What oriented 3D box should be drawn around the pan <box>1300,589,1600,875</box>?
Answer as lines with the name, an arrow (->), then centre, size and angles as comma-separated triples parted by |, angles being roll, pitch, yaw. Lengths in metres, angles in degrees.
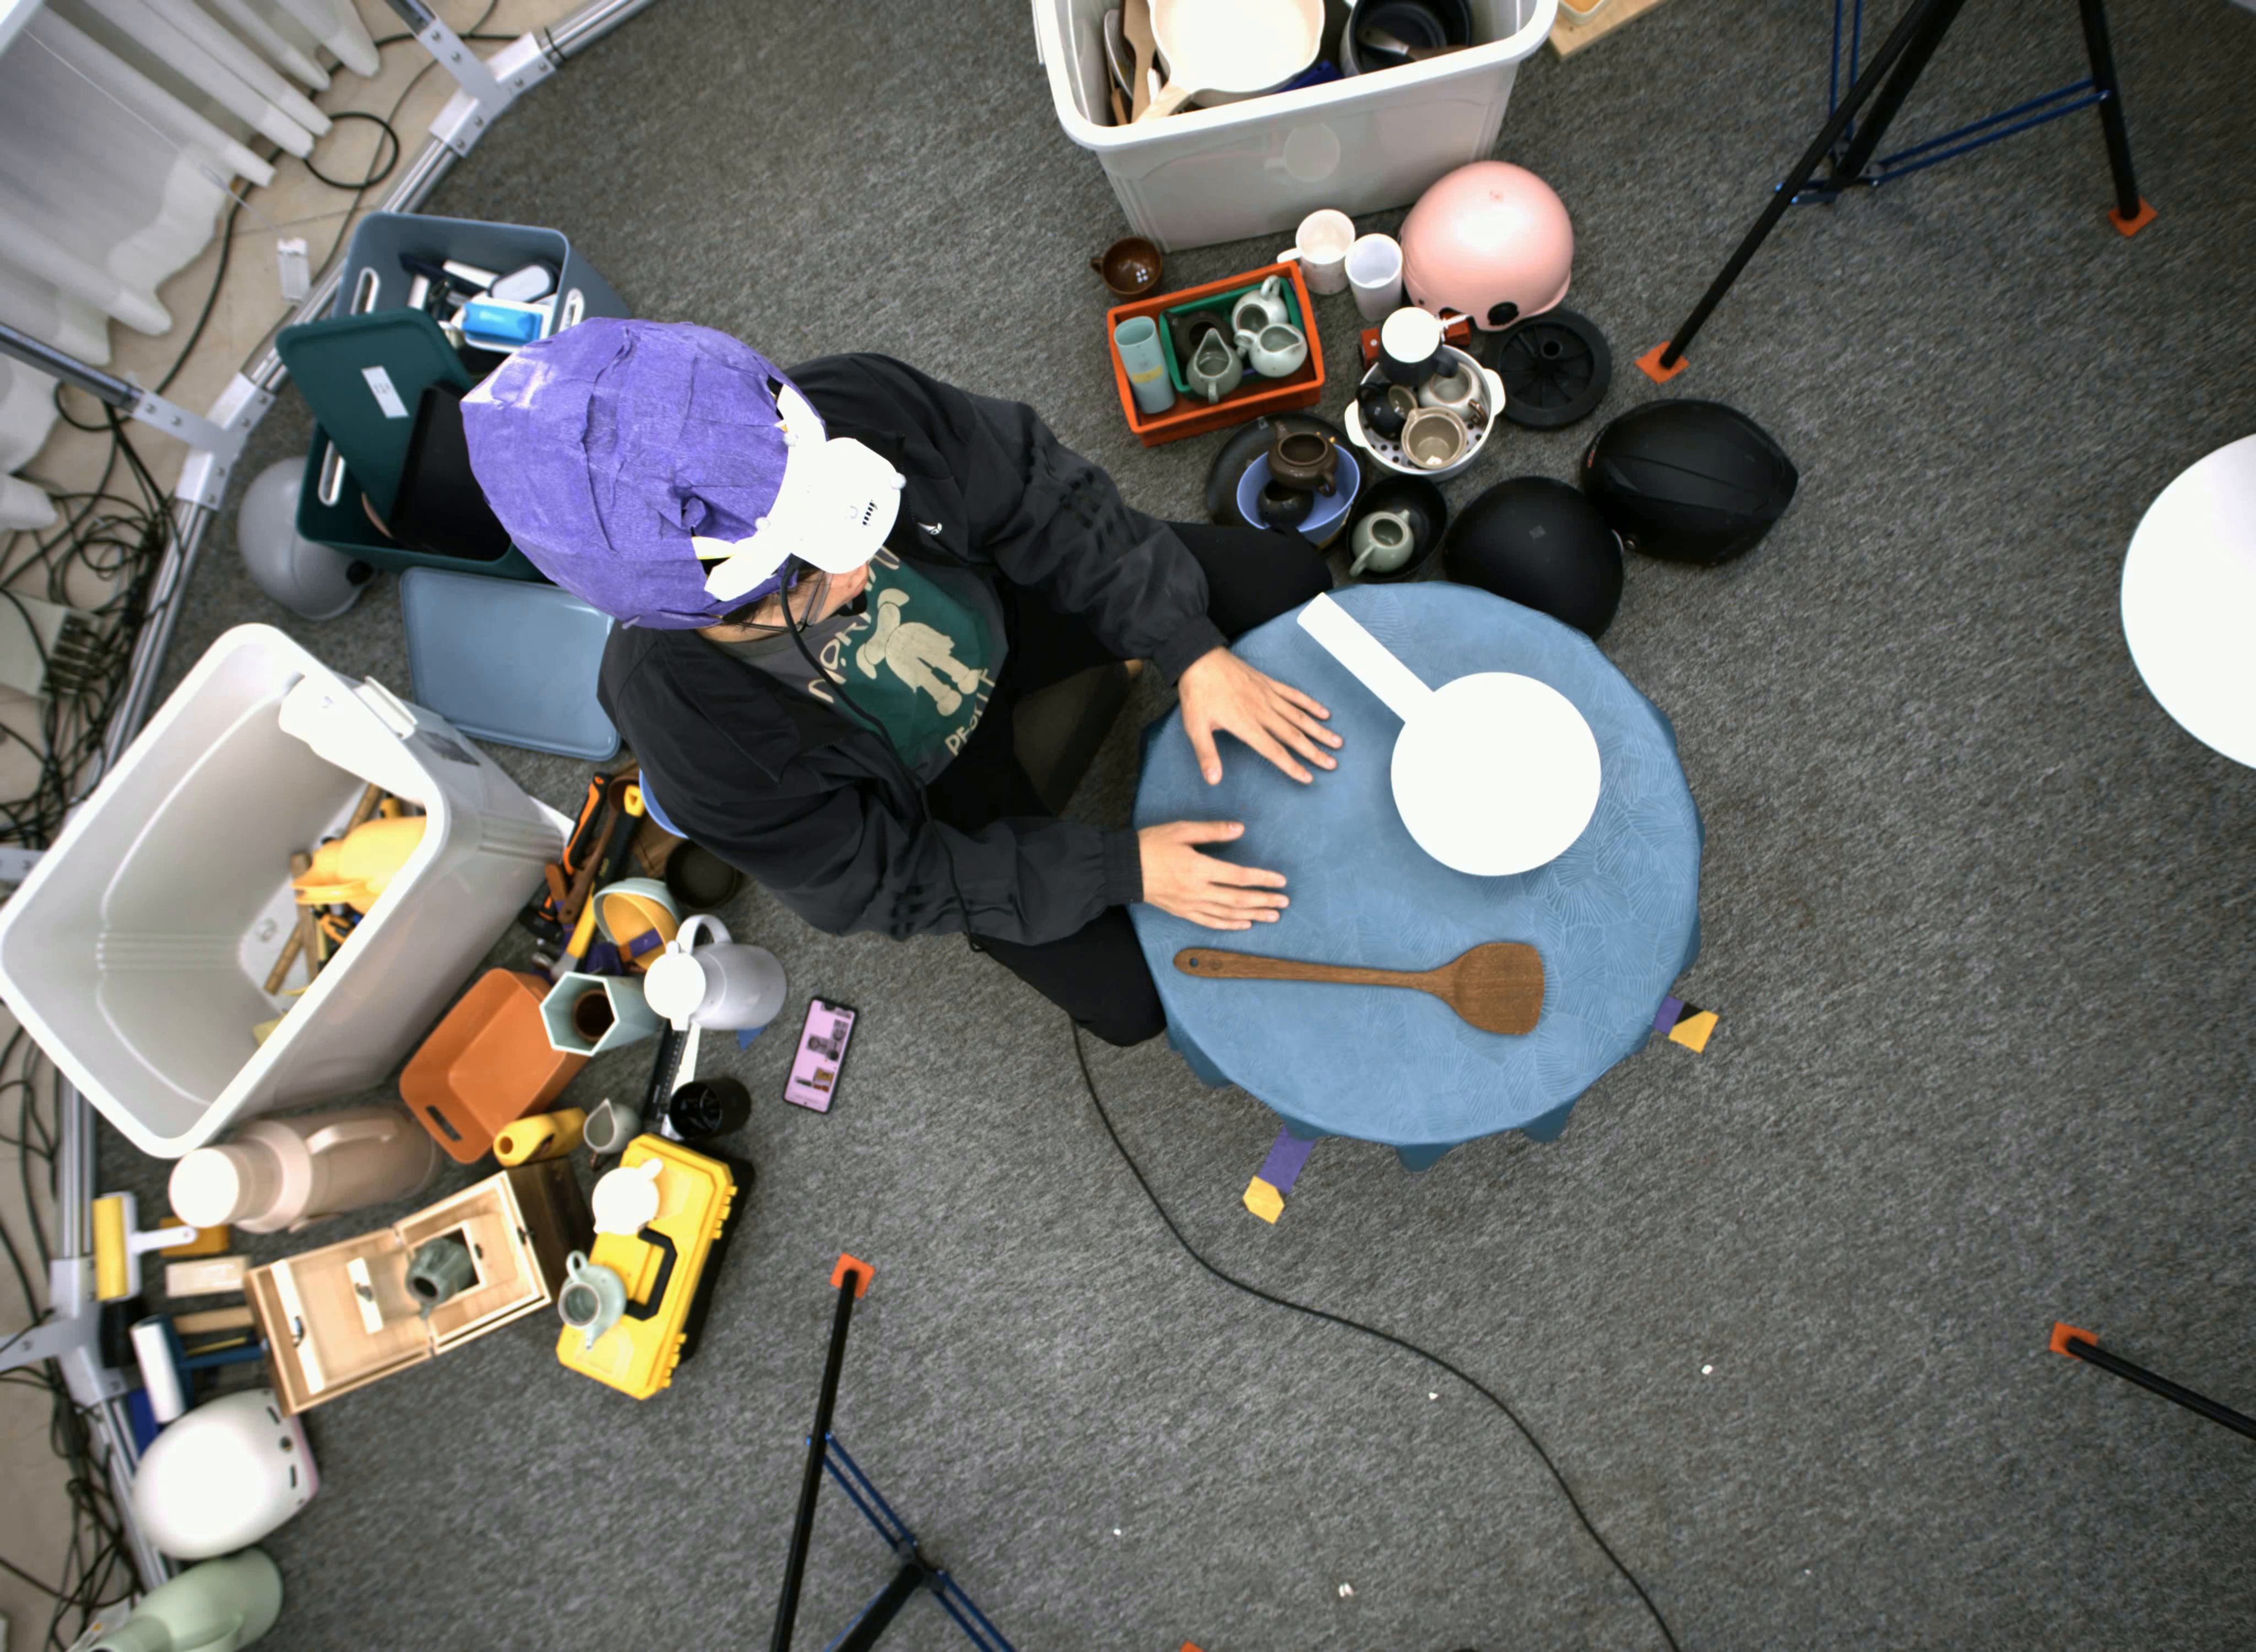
pan -> 0.316, -0.103, 1.409 | 0.353, 0.102, 0.202 | 45, 95, 11

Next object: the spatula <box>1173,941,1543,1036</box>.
spatula -> 0.237, 0.156, 1.453 | 0.387, 0.016, 0.095 | 3, 87, 11
